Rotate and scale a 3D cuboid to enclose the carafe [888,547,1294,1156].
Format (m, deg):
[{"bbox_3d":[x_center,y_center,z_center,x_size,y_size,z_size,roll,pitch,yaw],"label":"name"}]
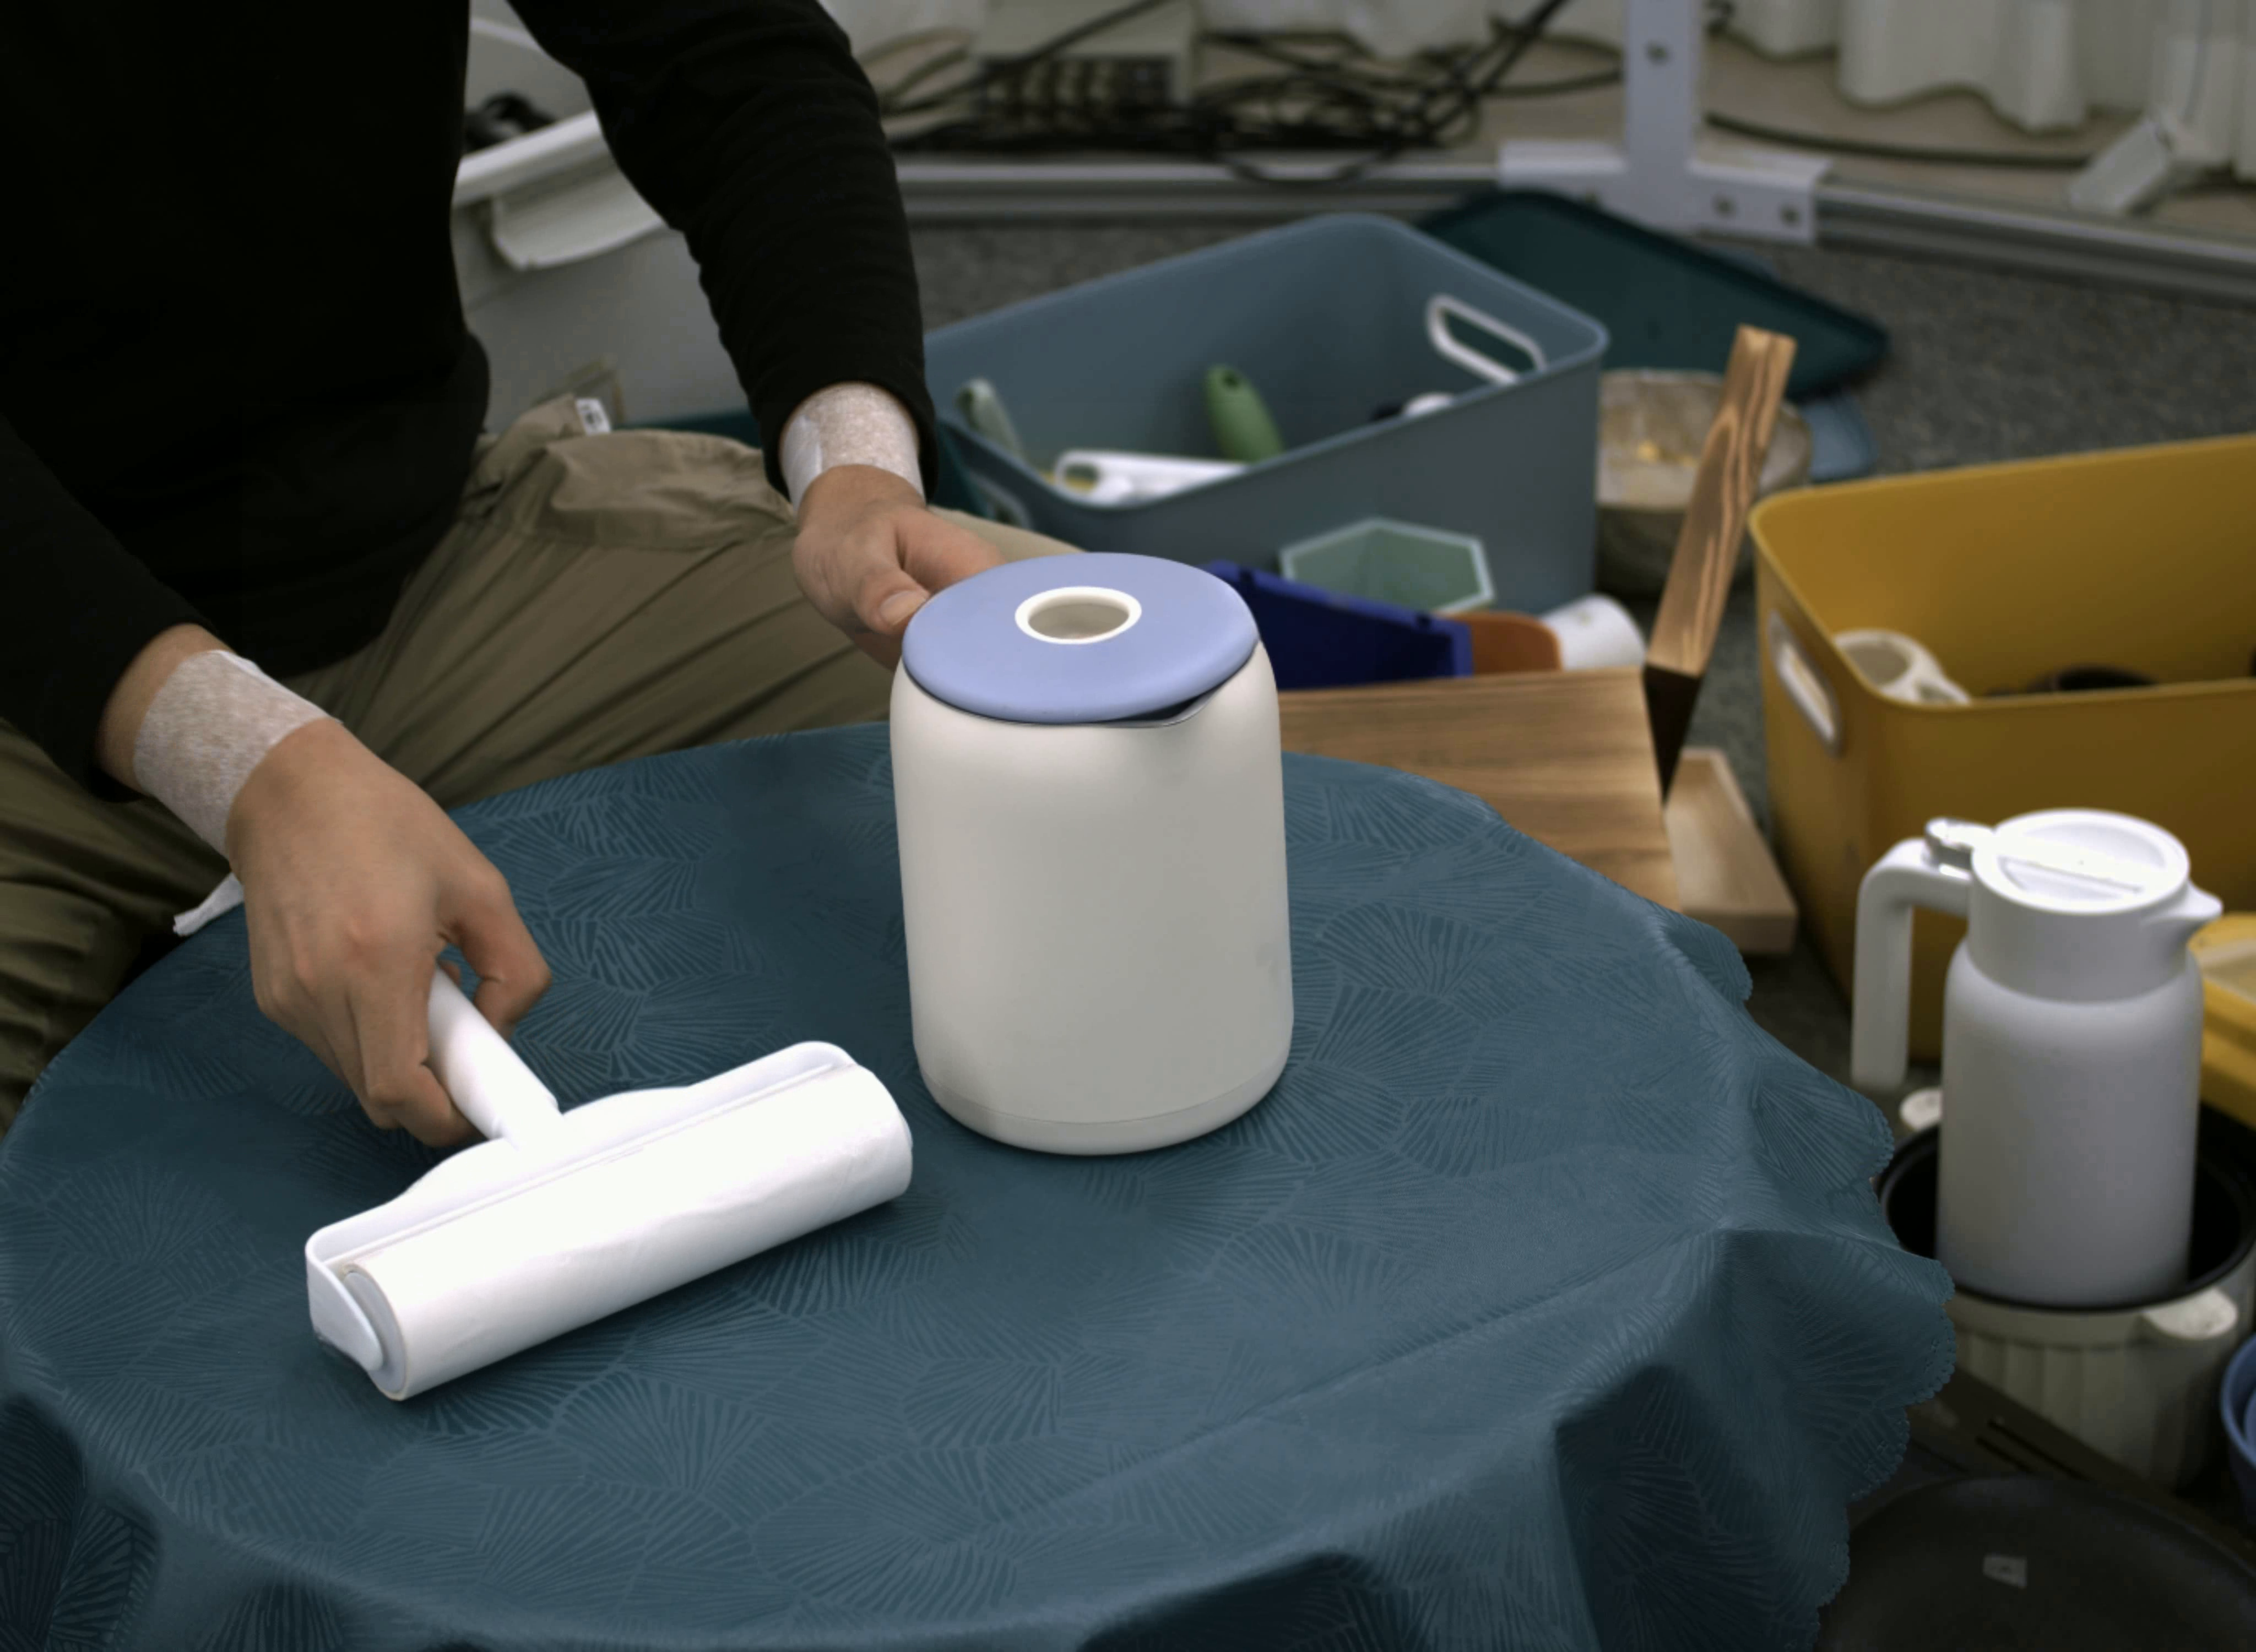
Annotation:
[{"bbox_3d":[-0.024,-0.001,1.916,0.133,0.181,0.192,-16,27,-25],"label":"carafe"}]

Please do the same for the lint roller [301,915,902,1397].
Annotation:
[{"bbox_3d":[-0.214,0.085,1.869,0.204,0.047,0.227,-22,42,-30],"label":"lint roller"}]
